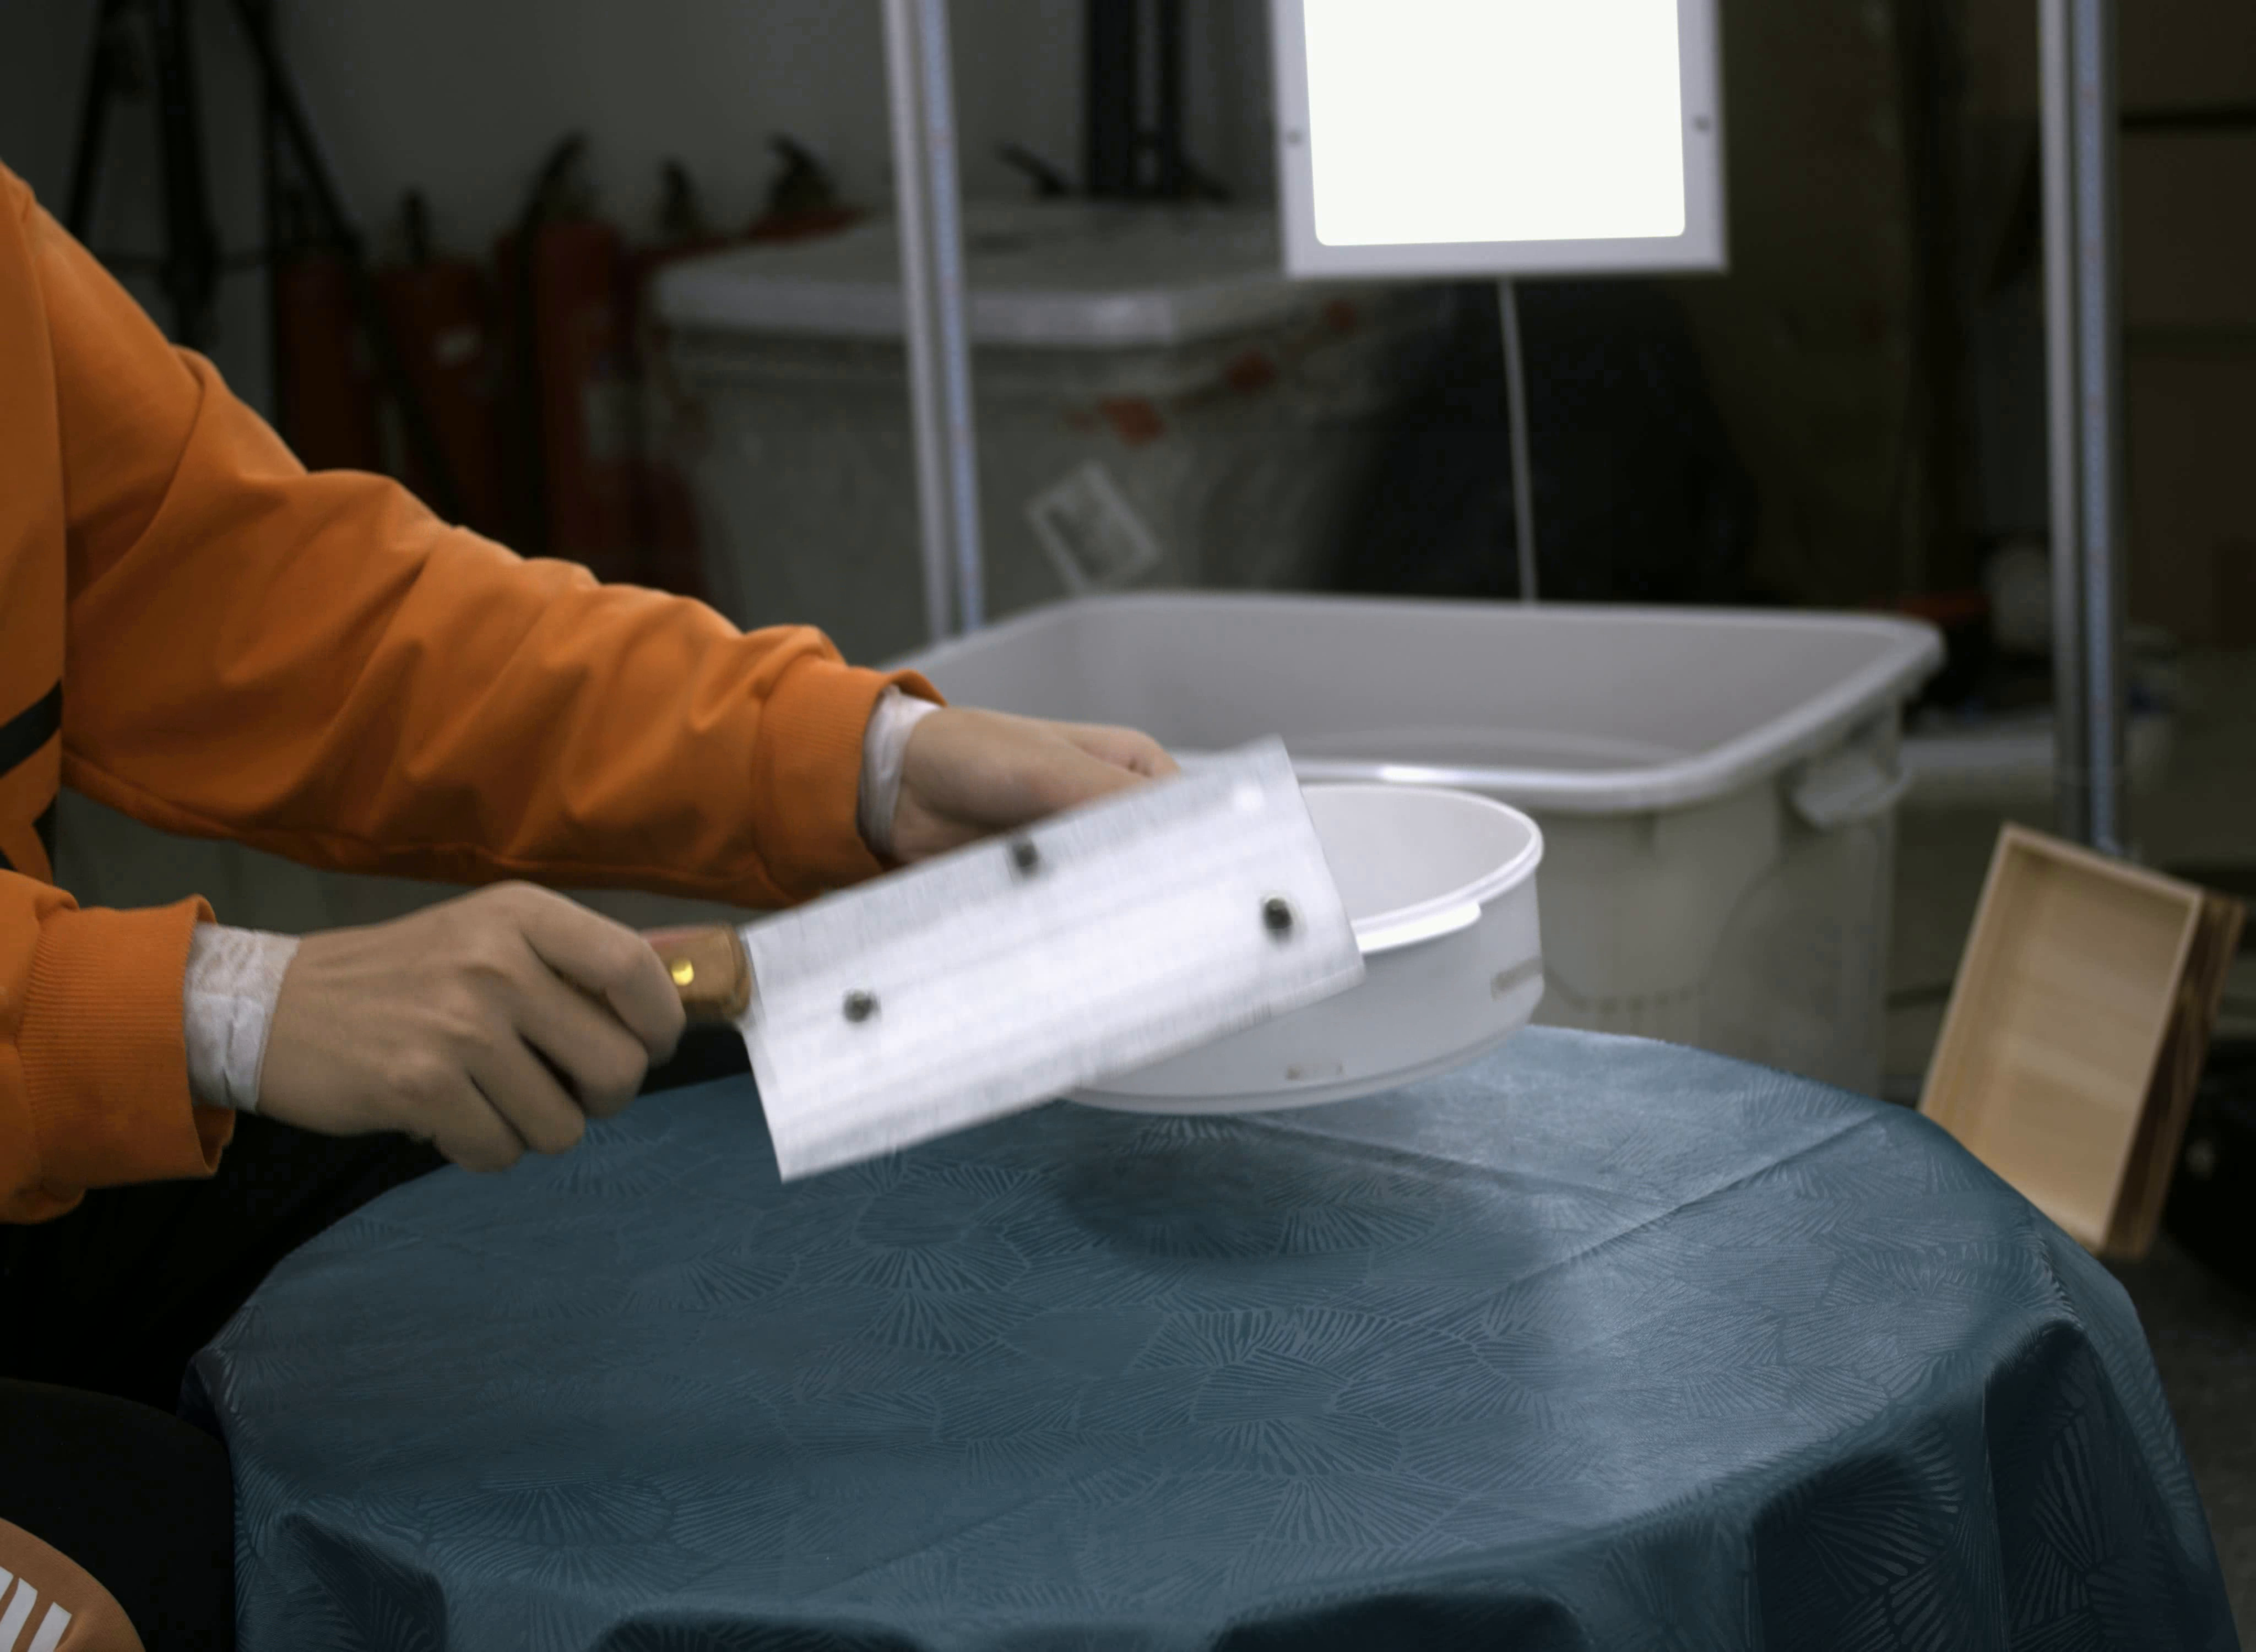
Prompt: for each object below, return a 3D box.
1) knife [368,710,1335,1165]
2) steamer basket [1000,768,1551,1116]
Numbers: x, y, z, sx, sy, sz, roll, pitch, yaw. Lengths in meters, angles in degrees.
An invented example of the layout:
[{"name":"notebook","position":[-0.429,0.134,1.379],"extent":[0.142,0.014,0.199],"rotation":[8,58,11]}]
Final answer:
[{"name":"knife","position":[-0.084,0.052,1.698],"extent":[0.306,0.093,0.021],"rotation":[-21,-28,4]},{"name":"steamer basket","position":[0.049,0.041,1.910],"extent":[0.198,0.069,0.234],"rotation":[-15,18,-22]}]
